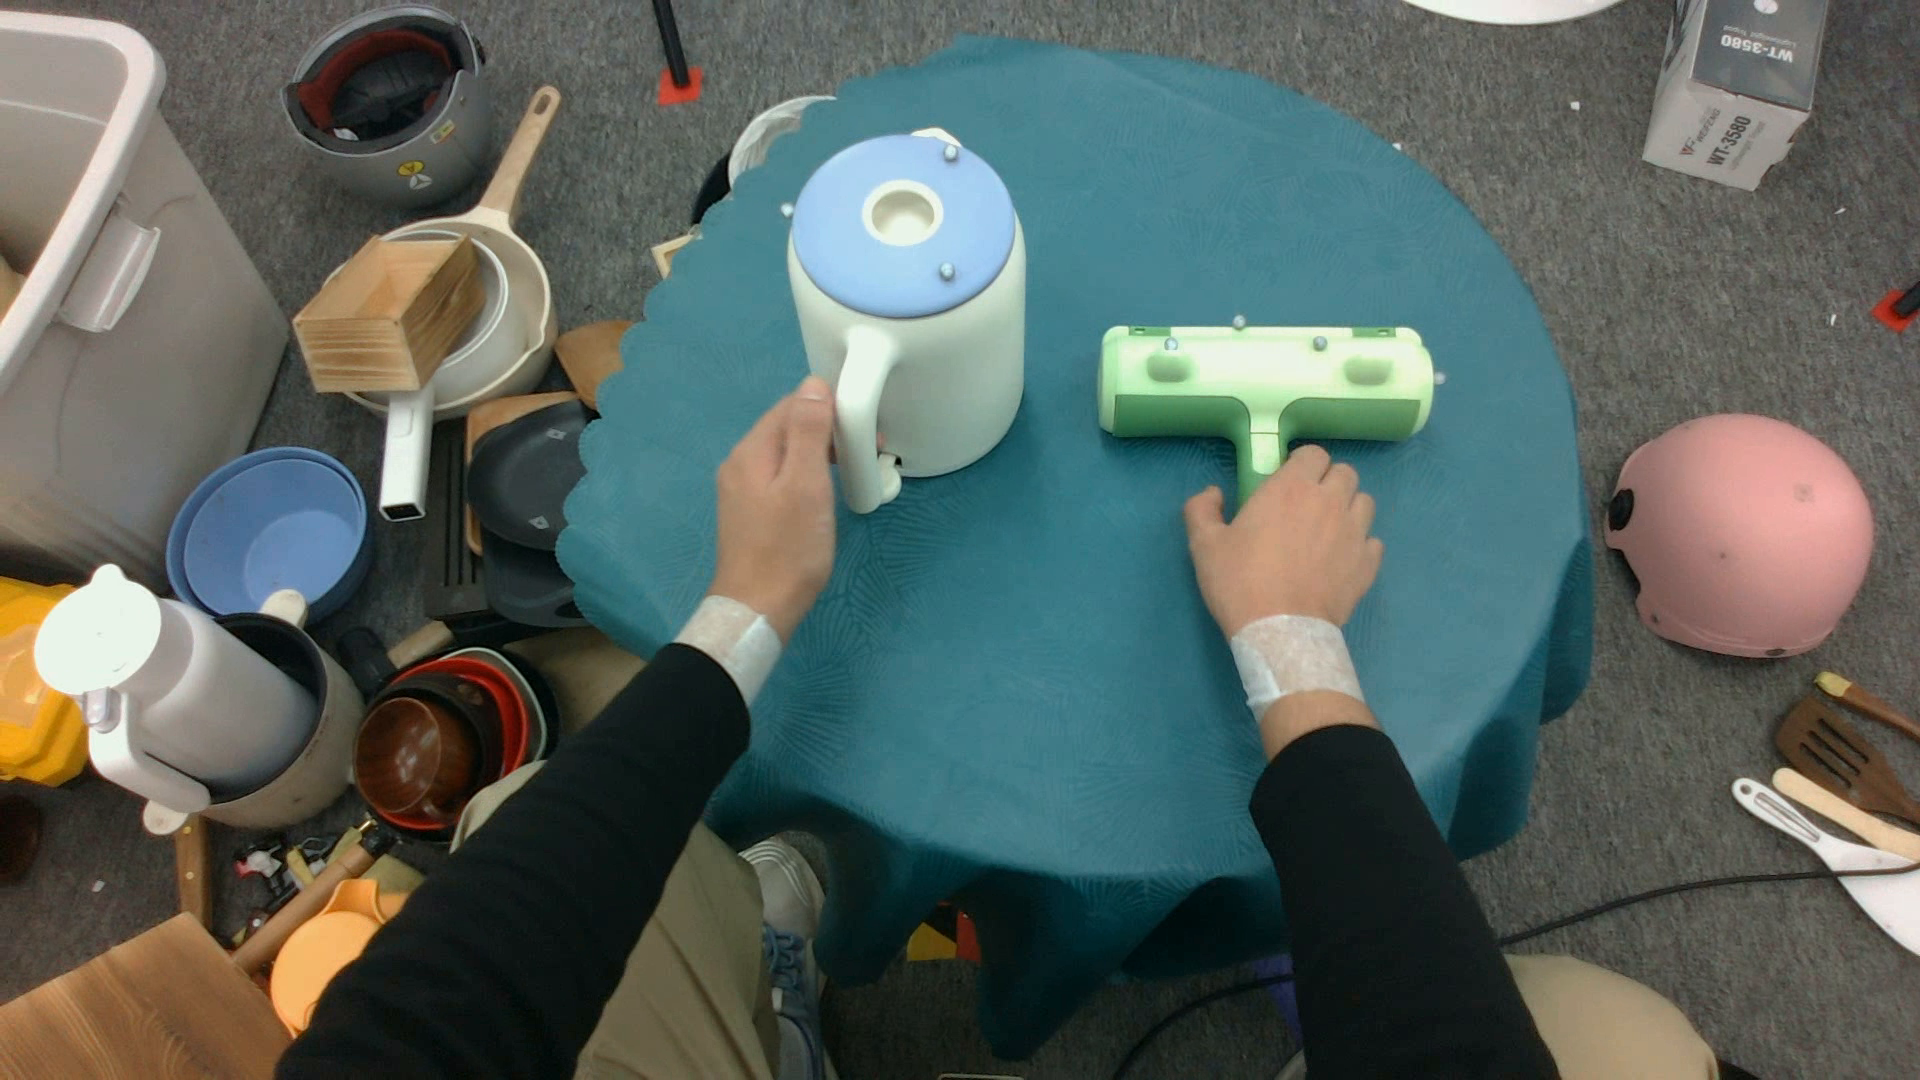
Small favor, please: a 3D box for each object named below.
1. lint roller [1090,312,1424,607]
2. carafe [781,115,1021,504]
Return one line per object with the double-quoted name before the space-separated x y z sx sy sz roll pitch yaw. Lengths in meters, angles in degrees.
"lint roller" 0.176 -0.057 0.808 0.198 0.082 0.184 1 61 3
"carafe" -0.037 -0.116 0.788 0.132 0.182 0.192 11 67 7
